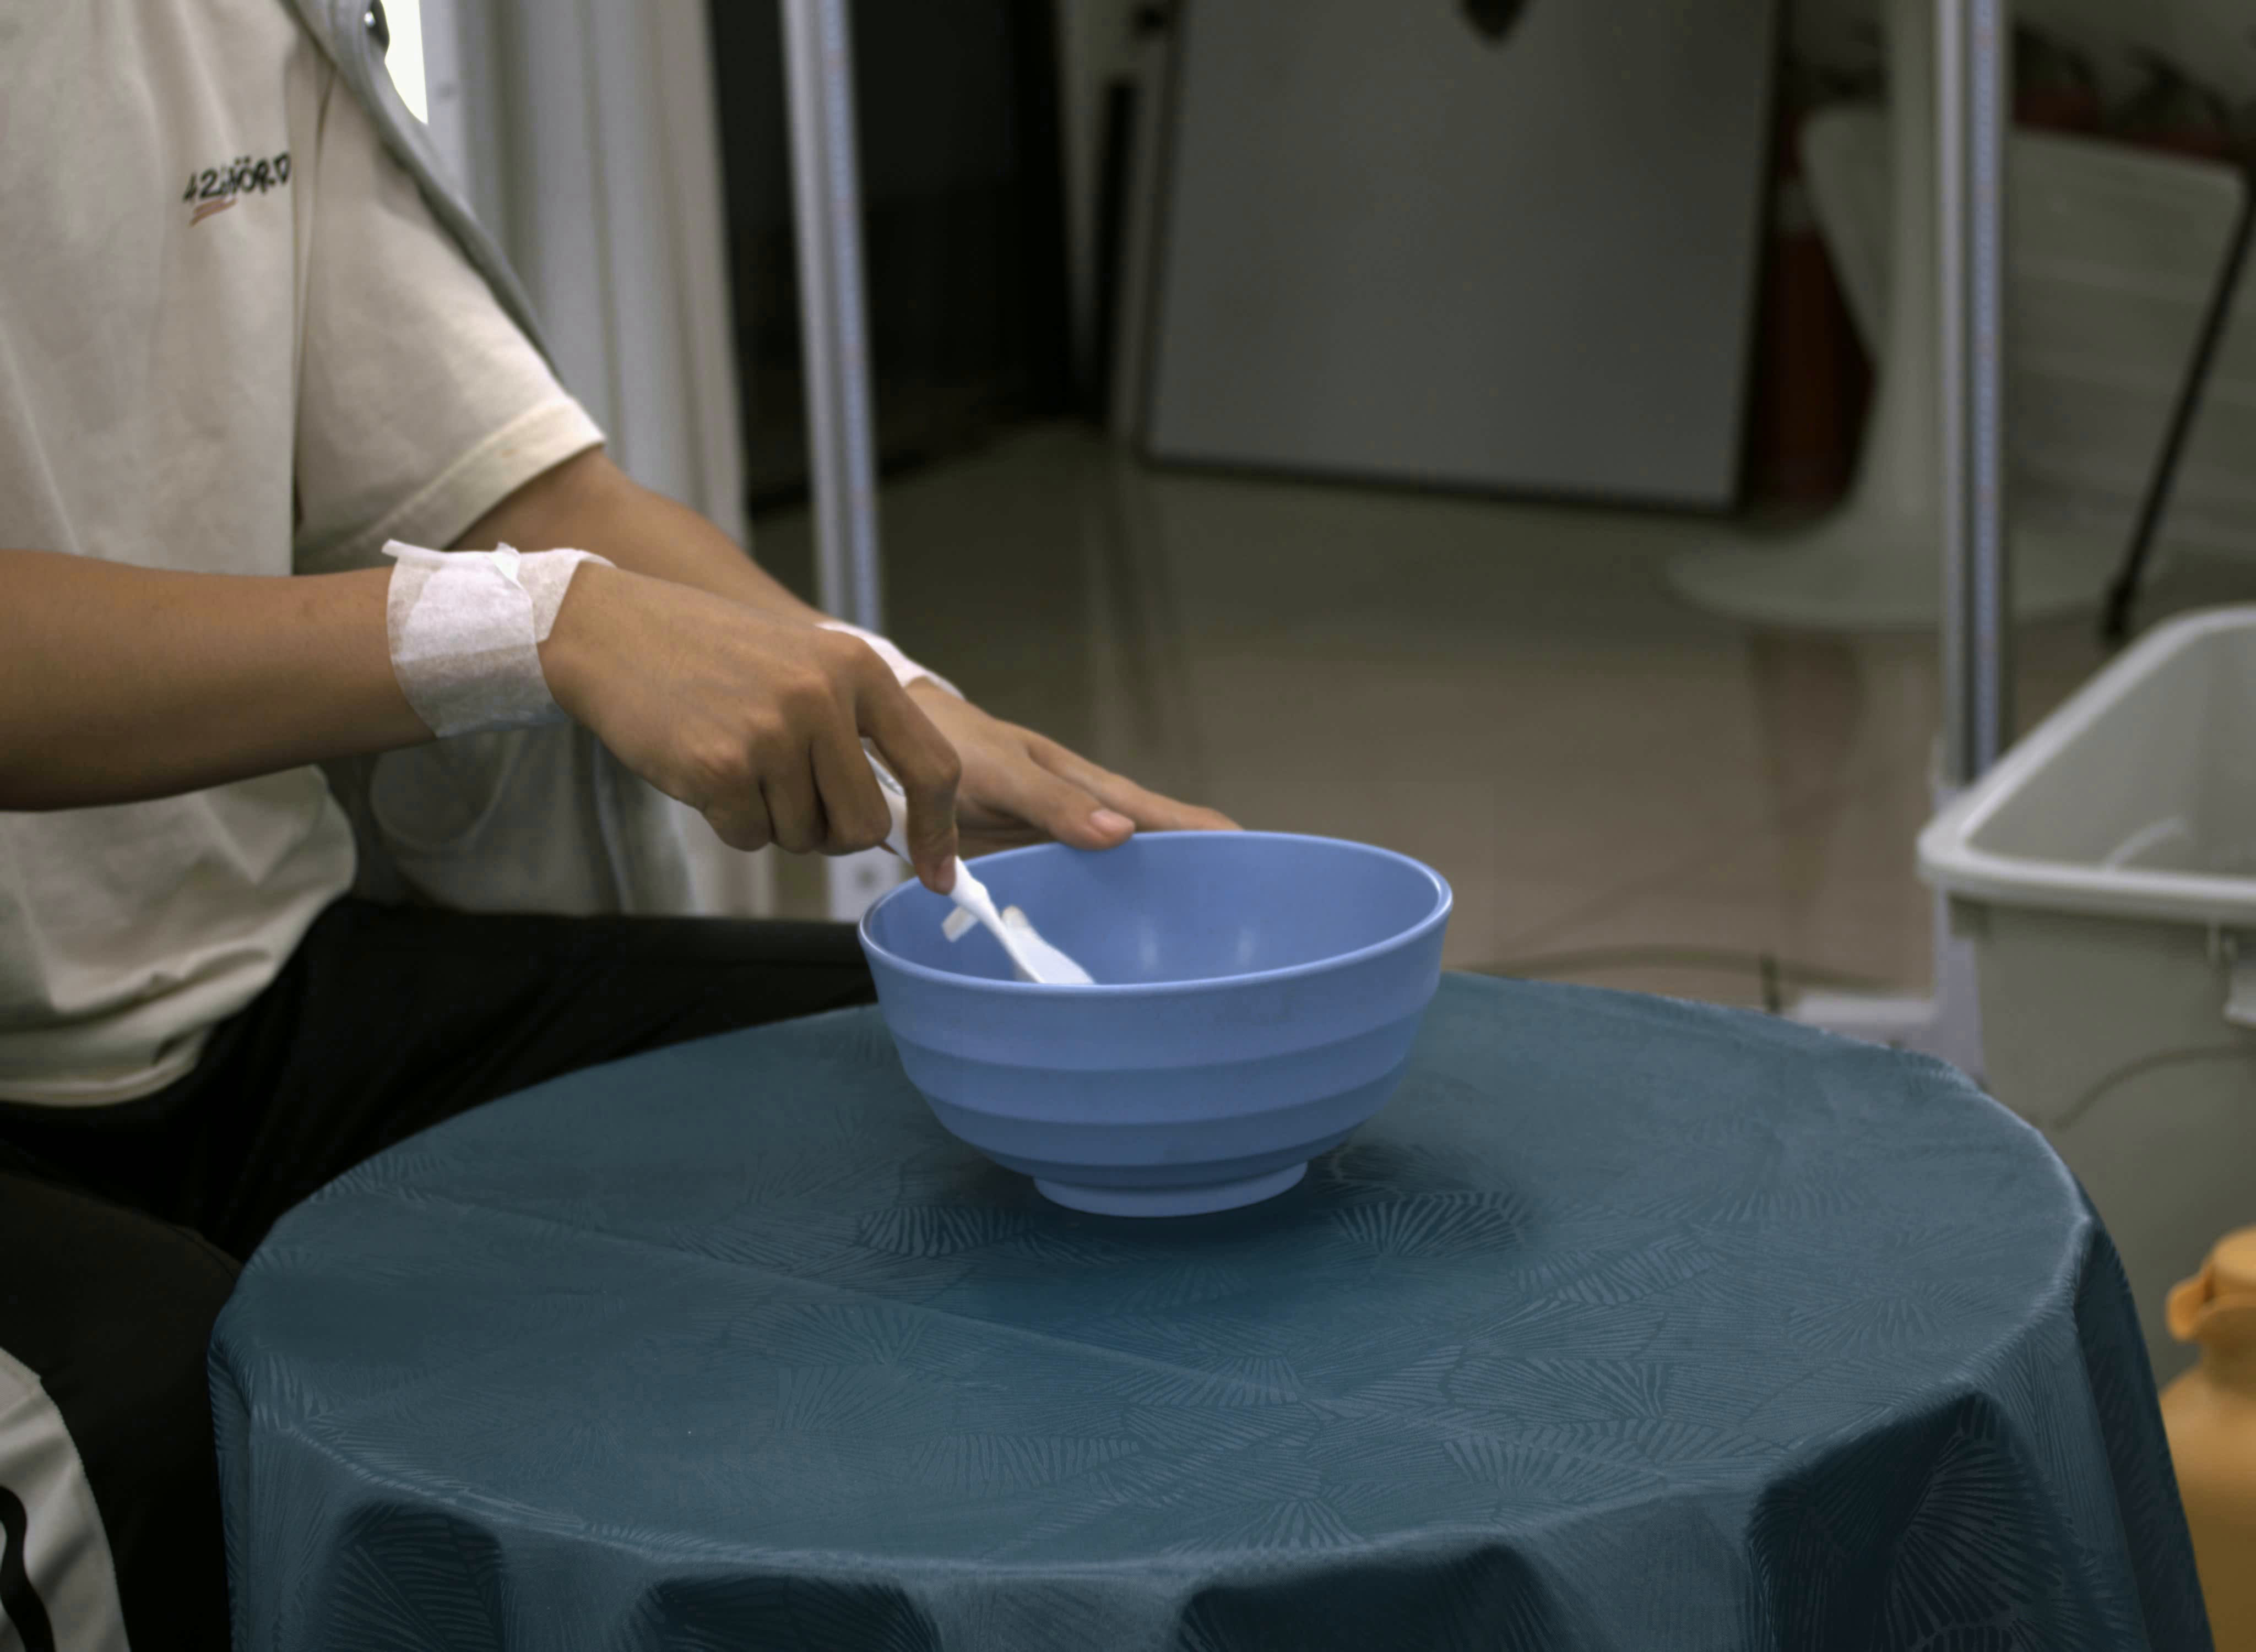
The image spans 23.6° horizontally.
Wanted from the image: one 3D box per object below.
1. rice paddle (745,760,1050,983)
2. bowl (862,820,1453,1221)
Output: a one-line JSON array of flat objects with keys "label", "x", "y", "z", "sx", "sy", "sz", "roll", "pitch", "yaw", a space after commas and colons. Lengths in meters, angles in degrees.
[{"label": "rice paddle", "x": -0.044, "y": 0.040, "z": 1.795, "sx": 0.202, "sy": 0.029, "sz": 0.069, "roll": 36, "pitch": -1, "yaw": -33}, {"label": "bowl", "x": 0.012, "y": 0.070, "z": 1.776, "sx": 0.194, "sy": 0.096, "sz": 0.197, "roll": -3, "pitch": 16, "yaw": 0}]
